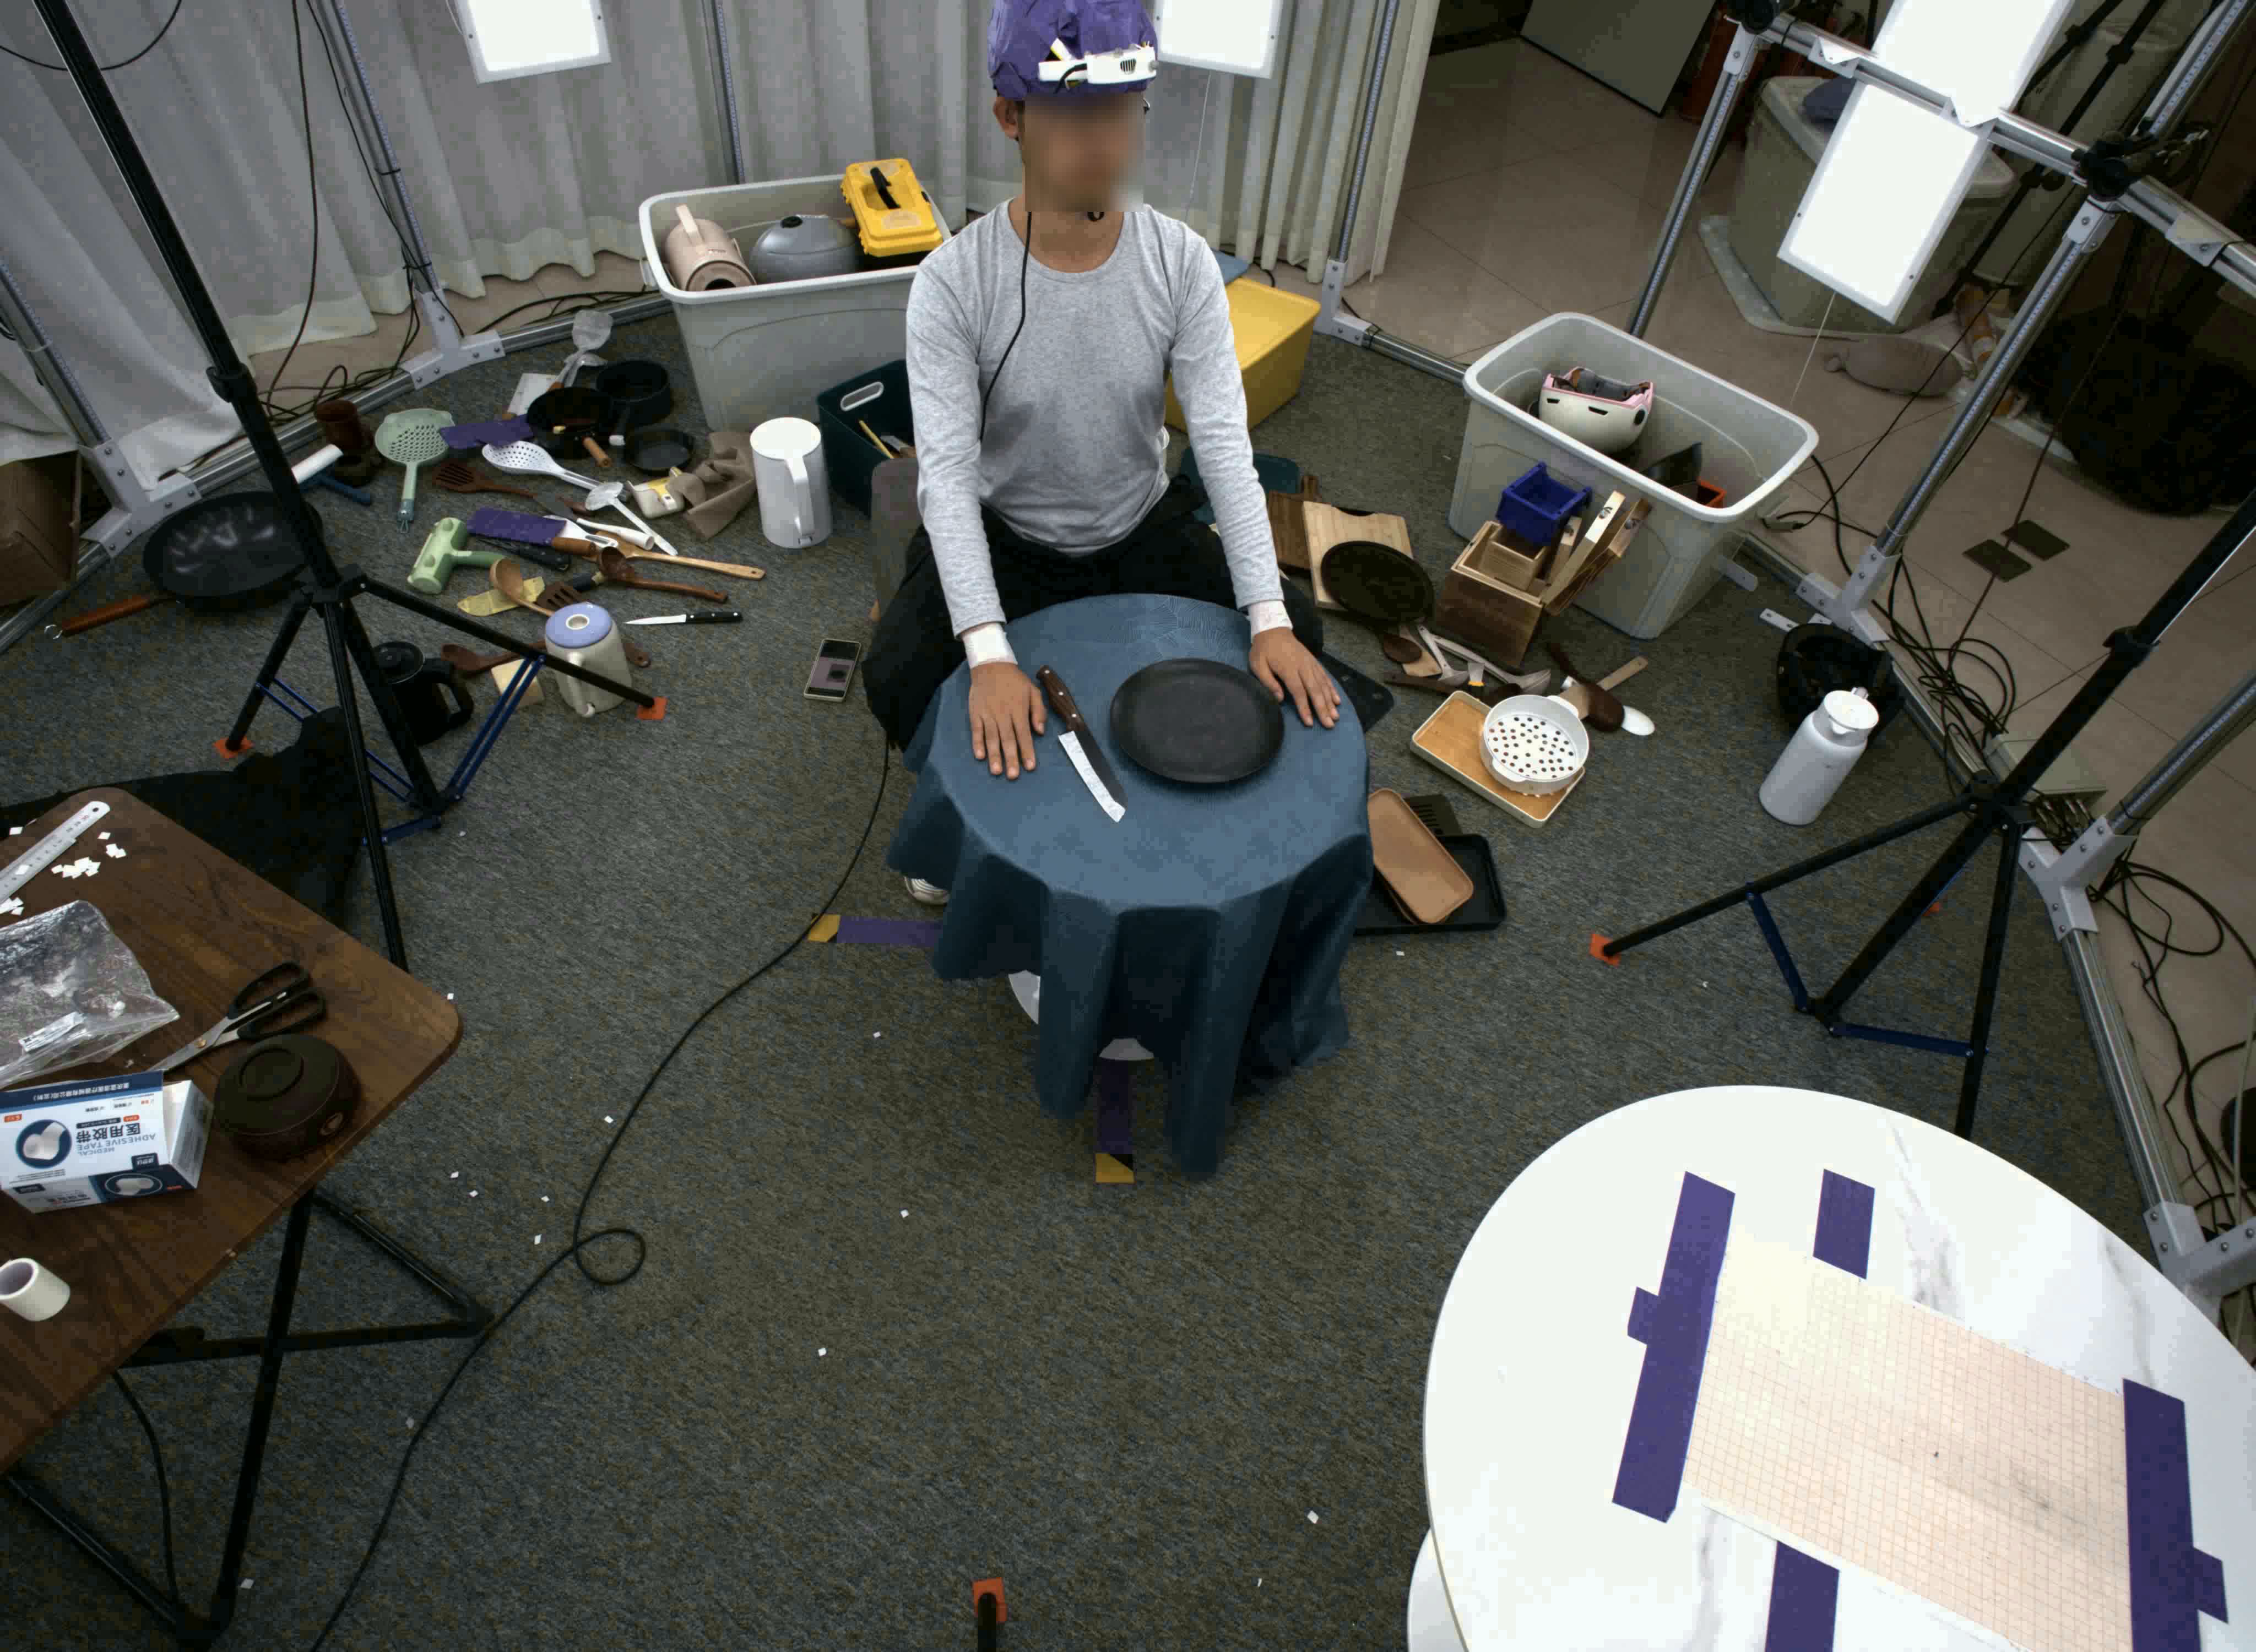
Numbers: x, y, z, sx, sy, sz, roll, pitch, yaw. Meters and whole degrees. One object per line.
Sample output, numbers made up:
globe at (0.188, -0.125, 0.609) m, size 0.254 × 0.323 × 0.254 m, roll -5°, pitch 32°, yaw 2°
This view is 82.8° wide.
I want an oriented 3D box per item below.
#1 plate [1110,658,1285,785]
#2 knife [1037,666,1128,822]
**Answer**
plate at (0.096, -0.144, 1.784) m, size 0.244 × 0.023 × 0.250 m, roll 2°, pitch 49°, yaw -2°
knife at (-0.064, -0.114, 1.753) m, size 0.050 × 0.019 × 0.296 m, roll -18°, pitch 55°, yaw -13°
